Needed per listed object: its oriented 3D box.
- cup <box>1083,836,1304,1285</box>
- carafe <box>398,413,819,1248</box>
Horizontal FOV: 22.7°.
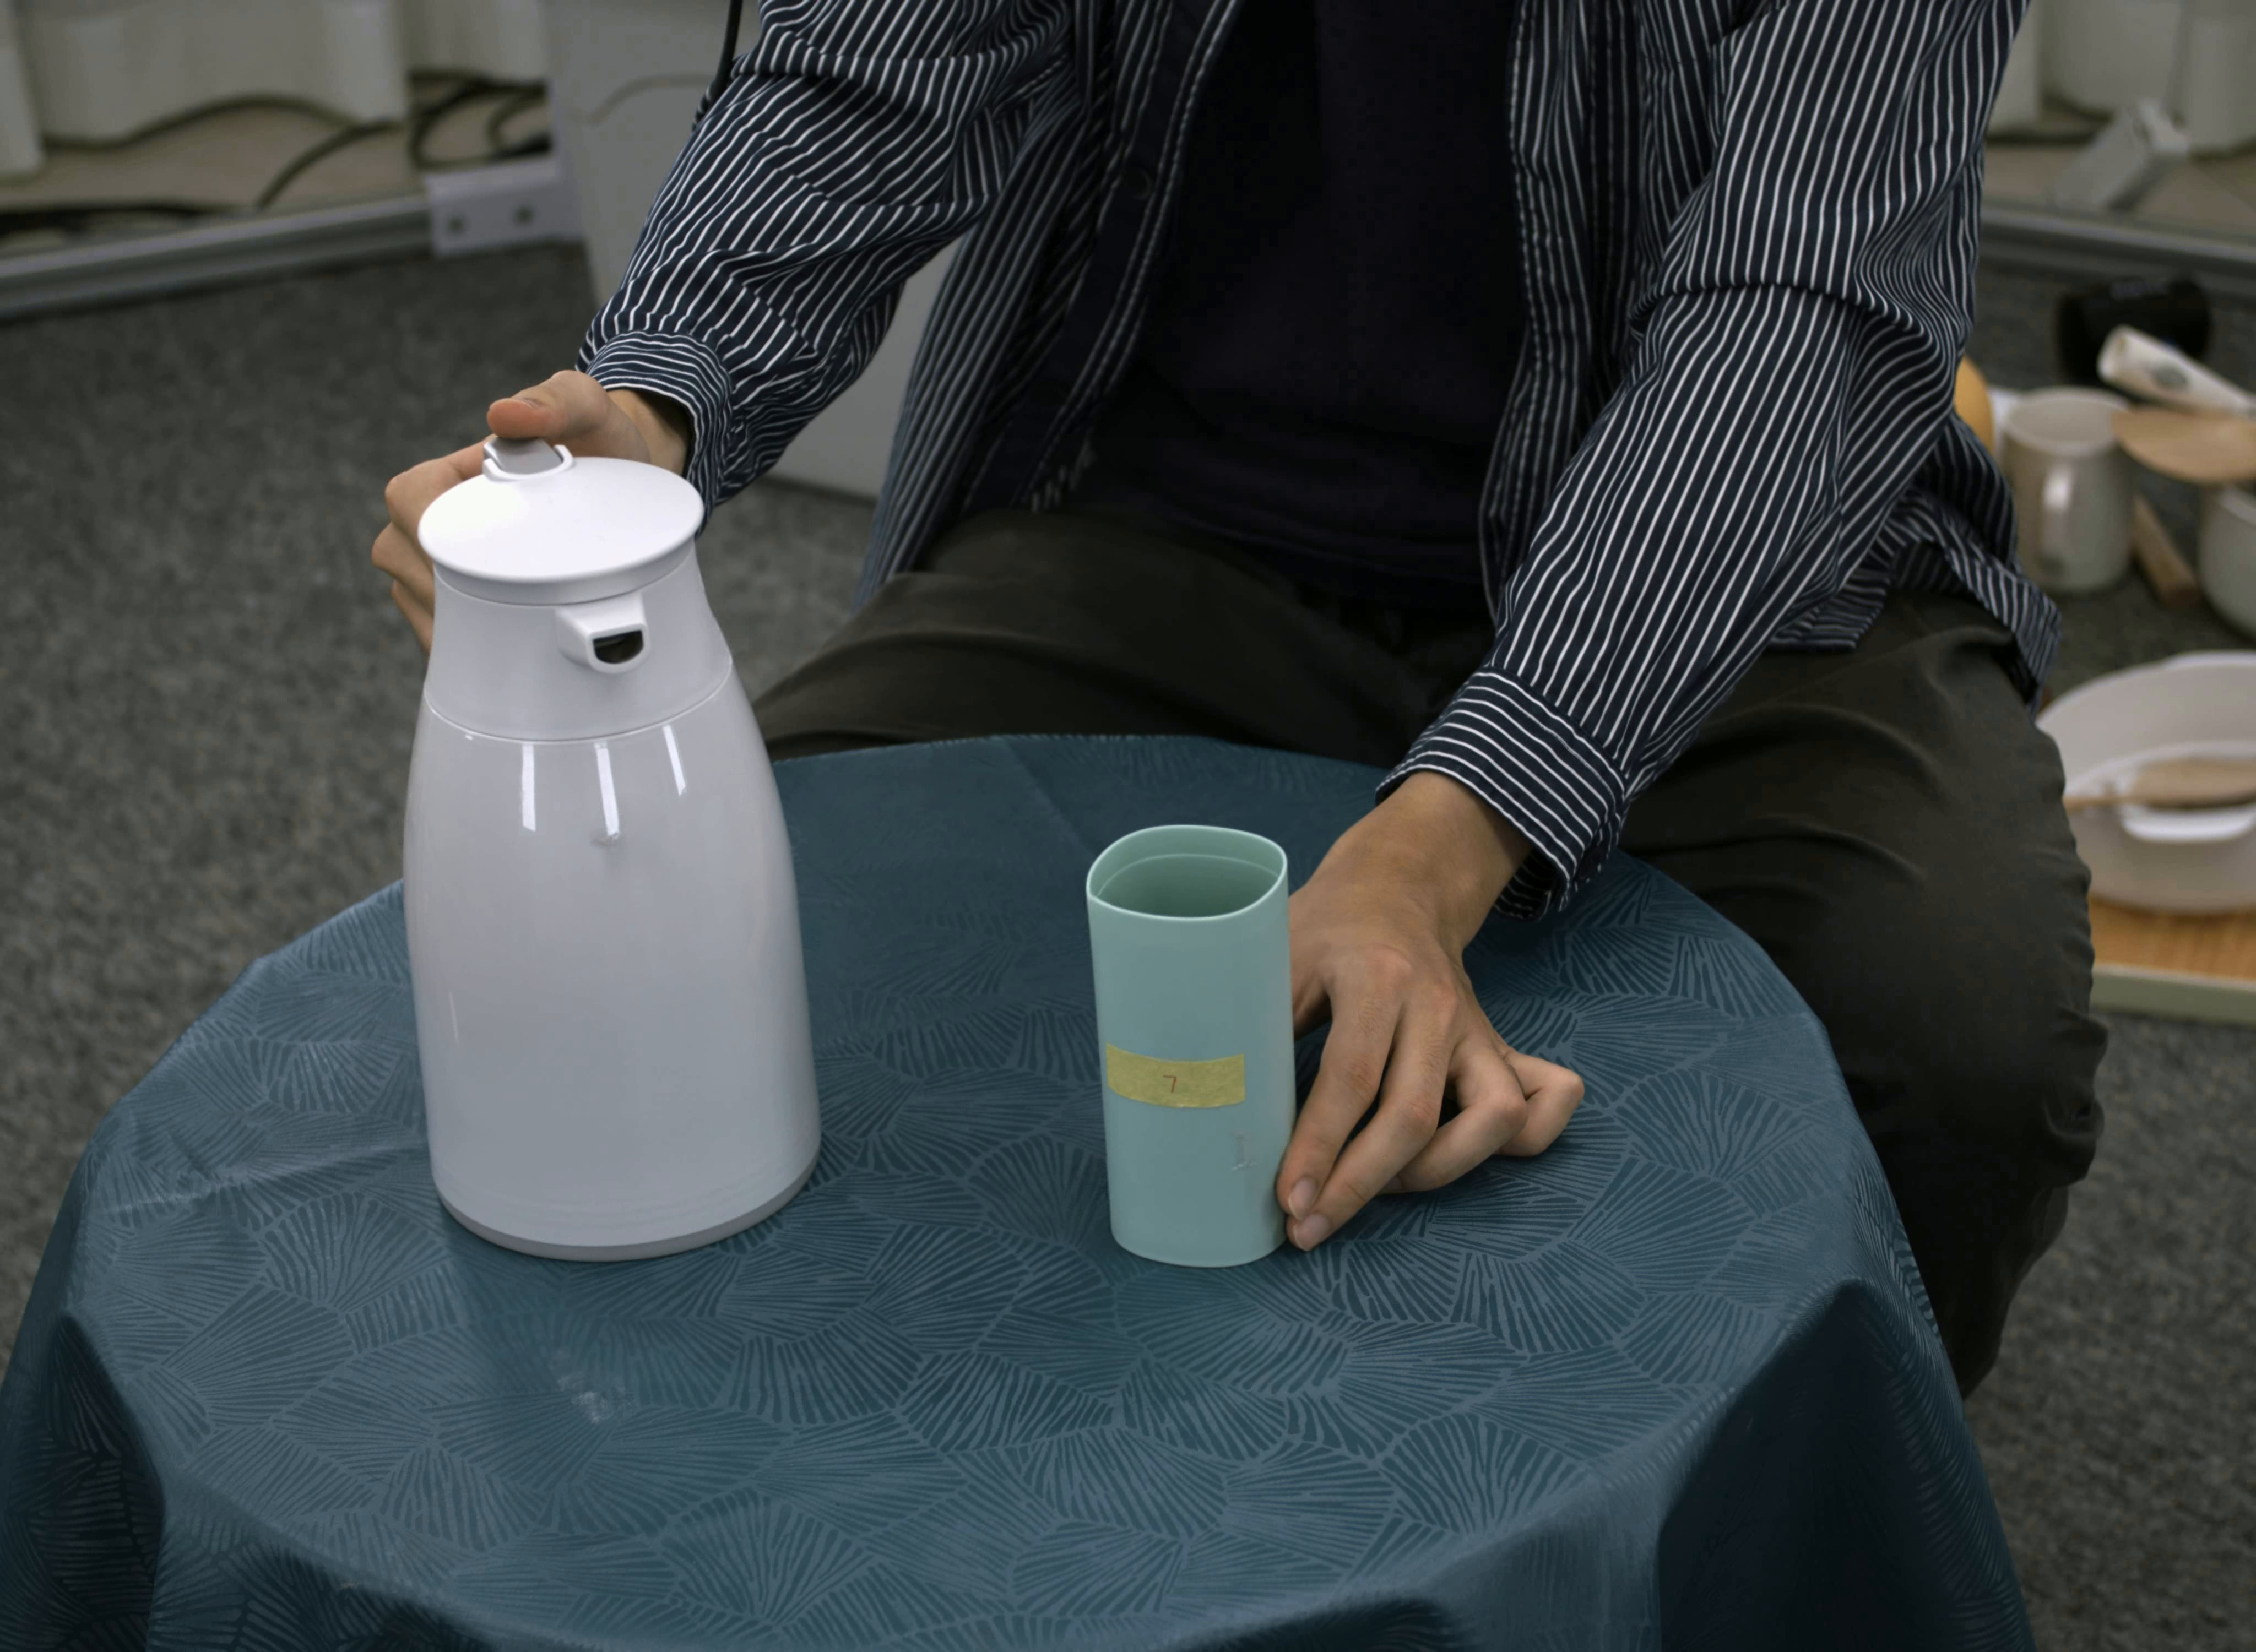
[{"bbox_3d":[0.022,0.075,1.812,0.066,0.131,0.068,-3,26,2],"label":"cup"},{"bbox_3d":[-0.184,-0.009,1.851,0.133,0.246,0.169,-14,27,-20],"label":"carafe"}]
